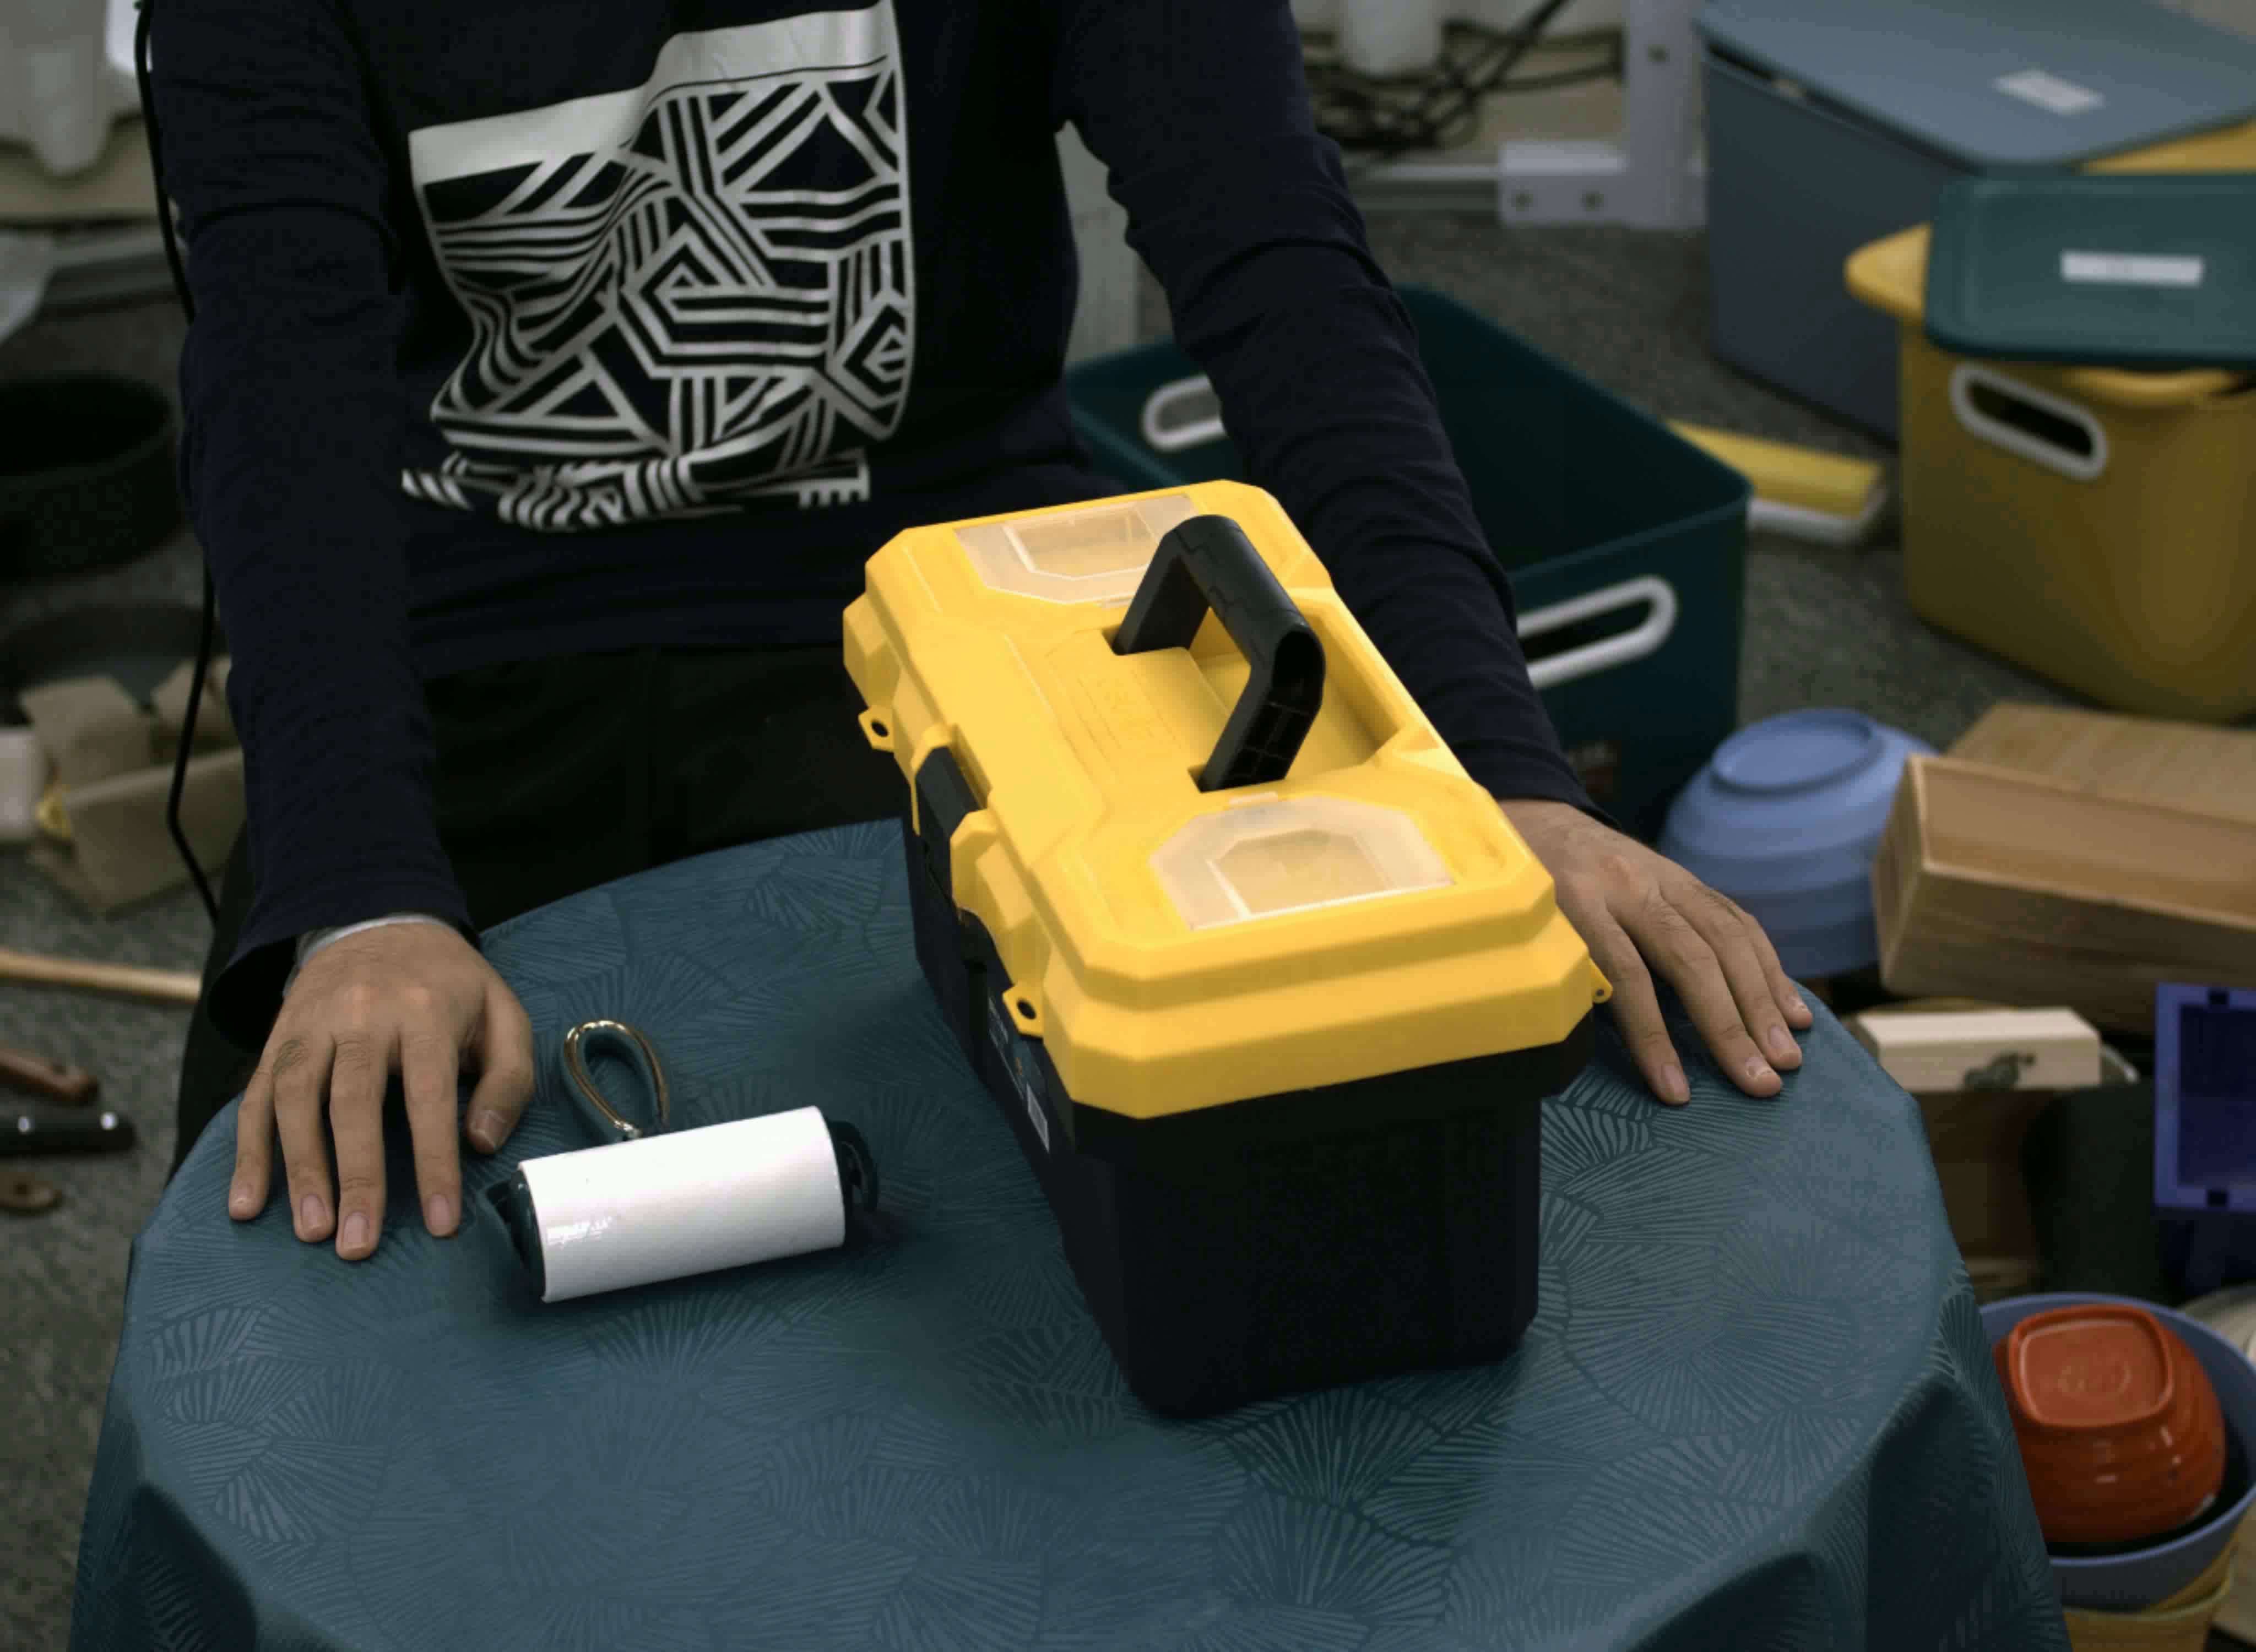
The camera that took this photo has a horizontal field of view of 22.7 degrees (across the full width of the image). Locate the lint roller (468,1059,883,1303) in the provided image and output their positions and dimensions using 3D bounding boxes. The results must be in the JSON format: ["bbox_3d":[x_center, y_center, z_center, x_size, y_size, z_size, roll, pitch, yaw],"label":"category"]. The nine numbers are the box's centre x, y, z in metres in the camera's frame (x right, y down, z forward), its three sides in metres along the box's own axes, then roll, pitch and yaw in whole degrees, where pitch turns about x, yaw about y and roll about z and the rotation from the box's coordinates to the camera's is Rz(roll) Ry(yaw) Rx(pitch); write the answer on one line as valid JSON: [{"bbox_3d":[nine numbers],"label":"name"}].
[{"bbox_3d":[-0.165,0.098,1.881,0.134,0.048,0.181,-11,24,-13],"label":"lint roller"}]

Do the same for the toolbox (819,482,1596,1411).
[{"bbox_3d":[0.021,0.032,1.846,0.181,0.171,0.355,-9,27,-13],"label":"toolbox"}]
